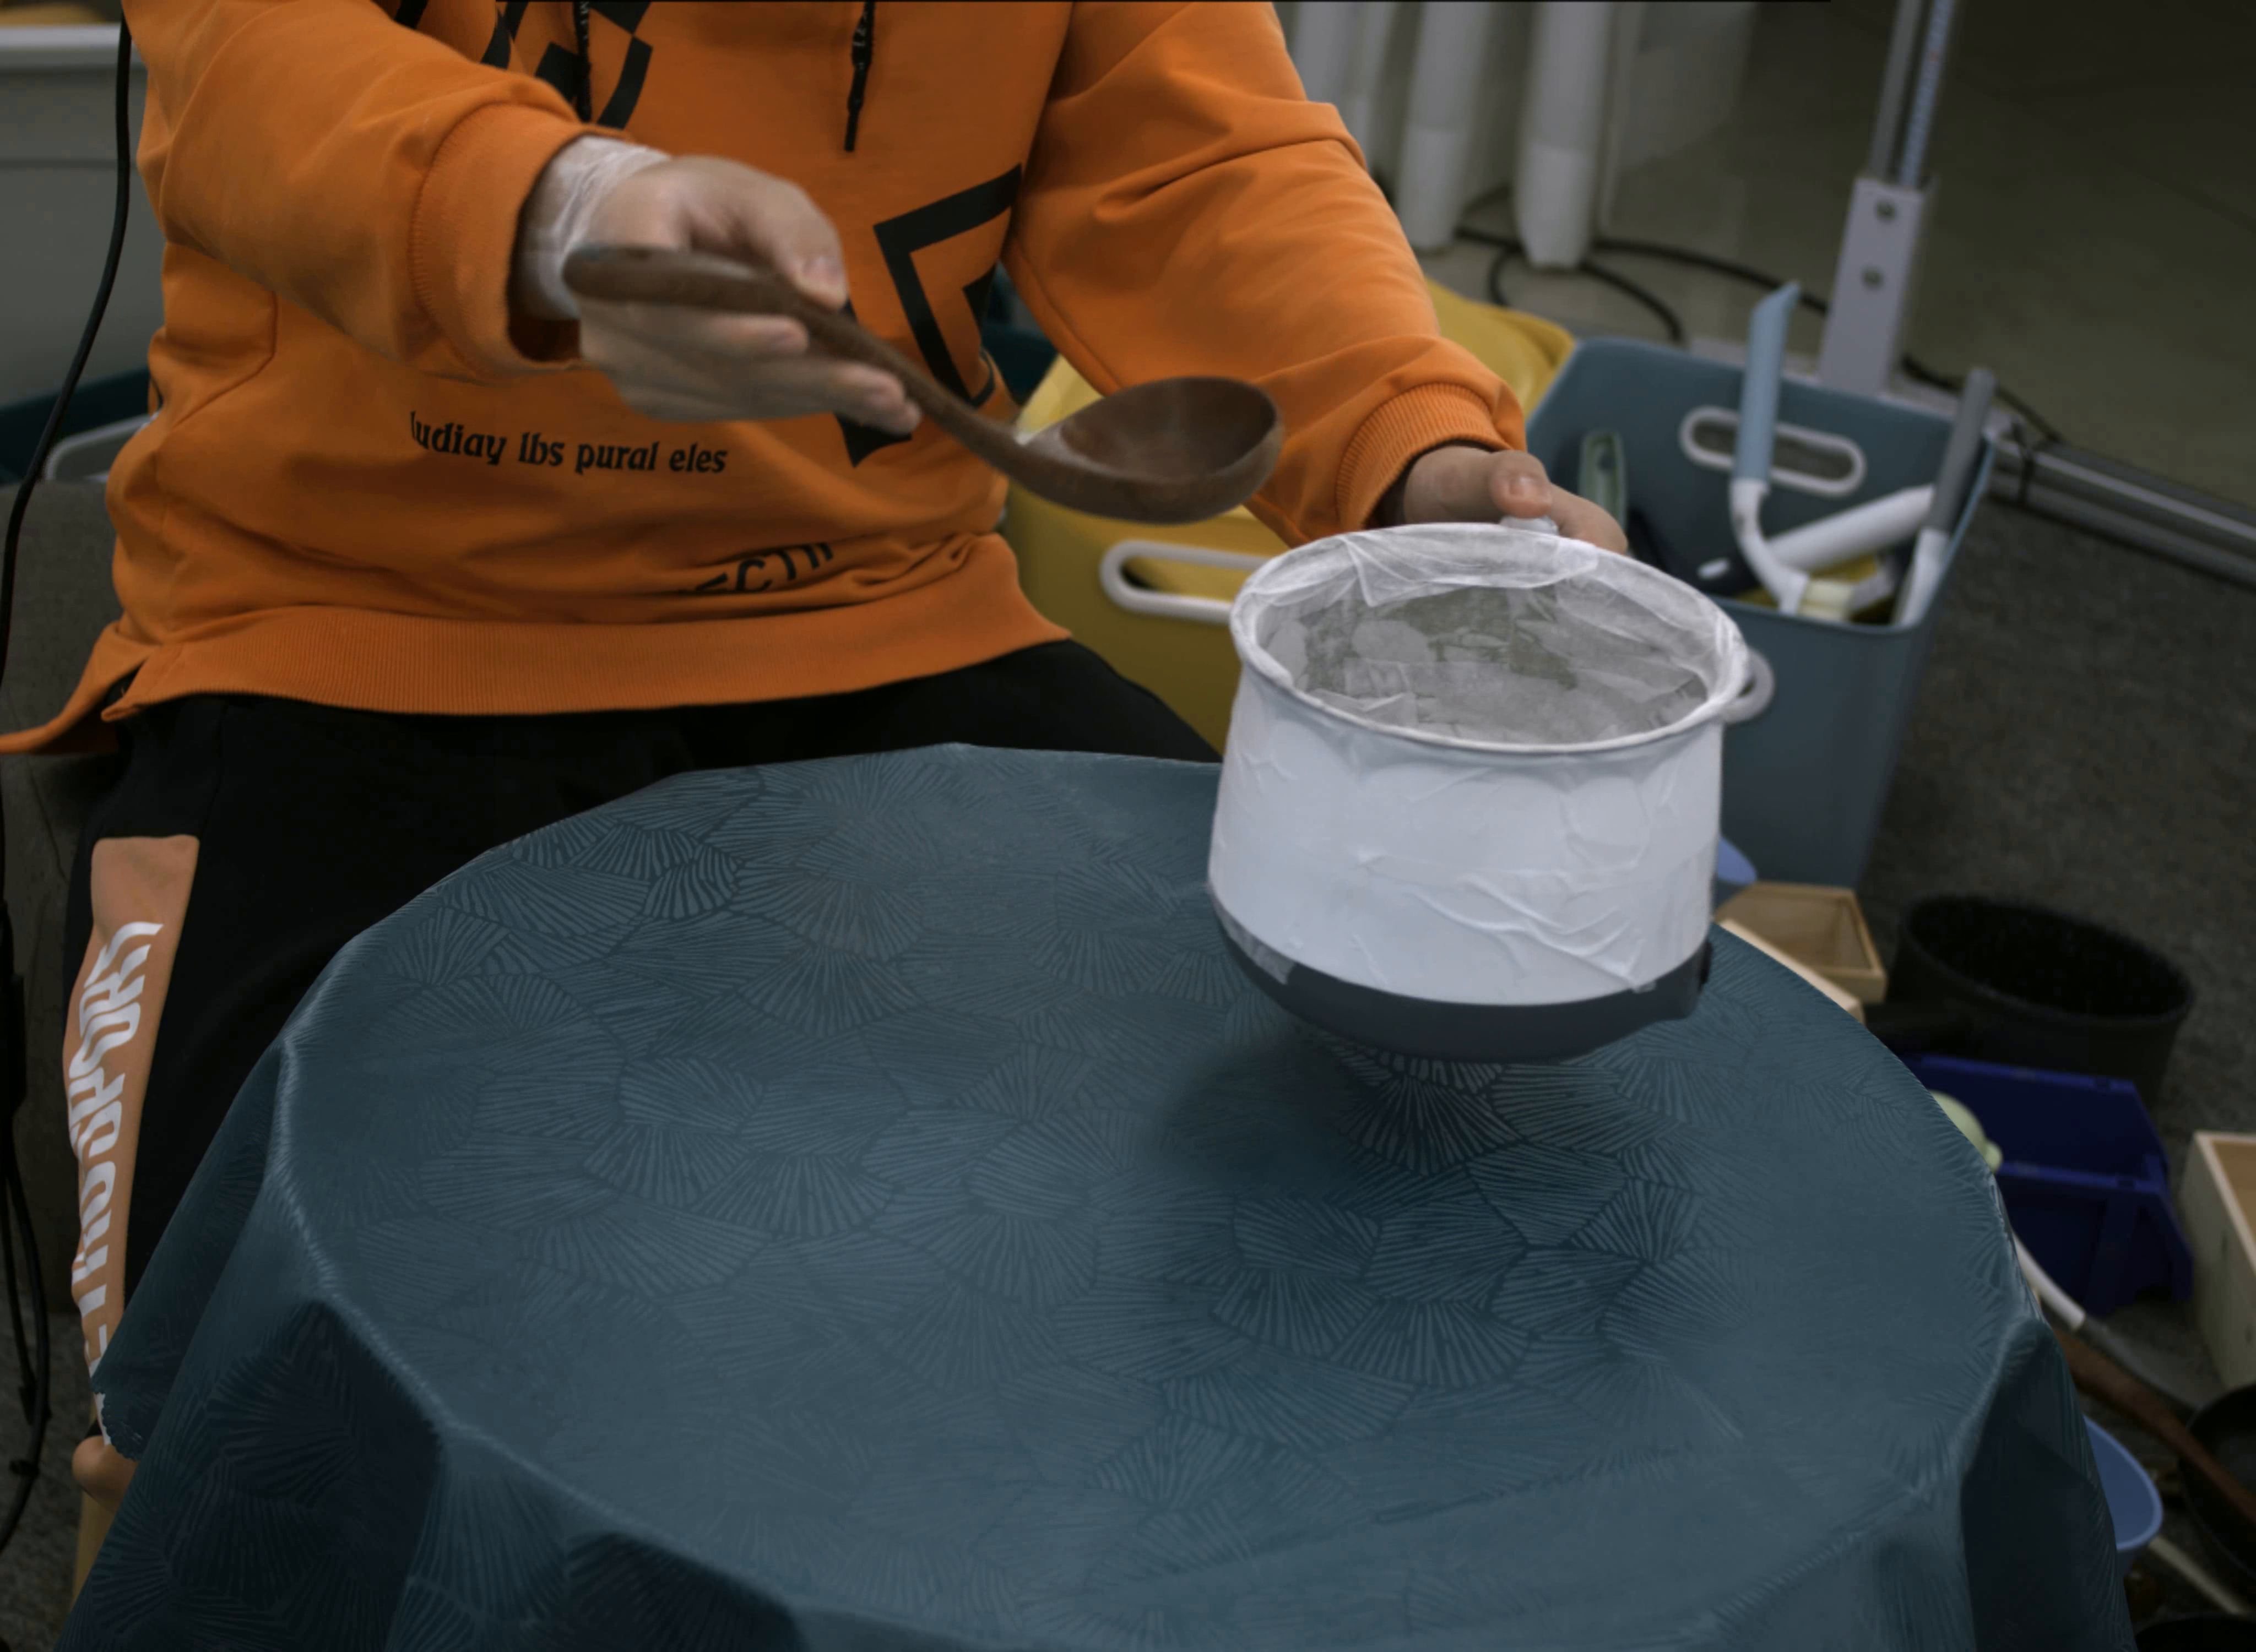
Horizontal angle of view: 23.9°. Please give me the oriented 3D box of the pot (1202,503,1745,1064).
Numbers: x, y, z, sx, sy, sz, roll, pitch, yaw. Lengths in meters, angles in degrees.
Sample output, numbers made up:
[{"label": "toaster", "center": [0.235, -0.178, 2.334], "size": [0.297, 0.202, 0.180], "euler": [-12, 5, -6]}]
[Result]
[{"label": "pot", "center": [0.121, -0.023, 1.857], "size": [0.178, 0.136, 0.234], "euler": [9, 28, 7]}]

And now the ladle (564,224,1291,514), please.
[{"label": "ladle", "center": [-0.060, -0.158, 1.693], "size": [0.258, 0.065, 0.077], "euler": [23, 7, -32]}]
